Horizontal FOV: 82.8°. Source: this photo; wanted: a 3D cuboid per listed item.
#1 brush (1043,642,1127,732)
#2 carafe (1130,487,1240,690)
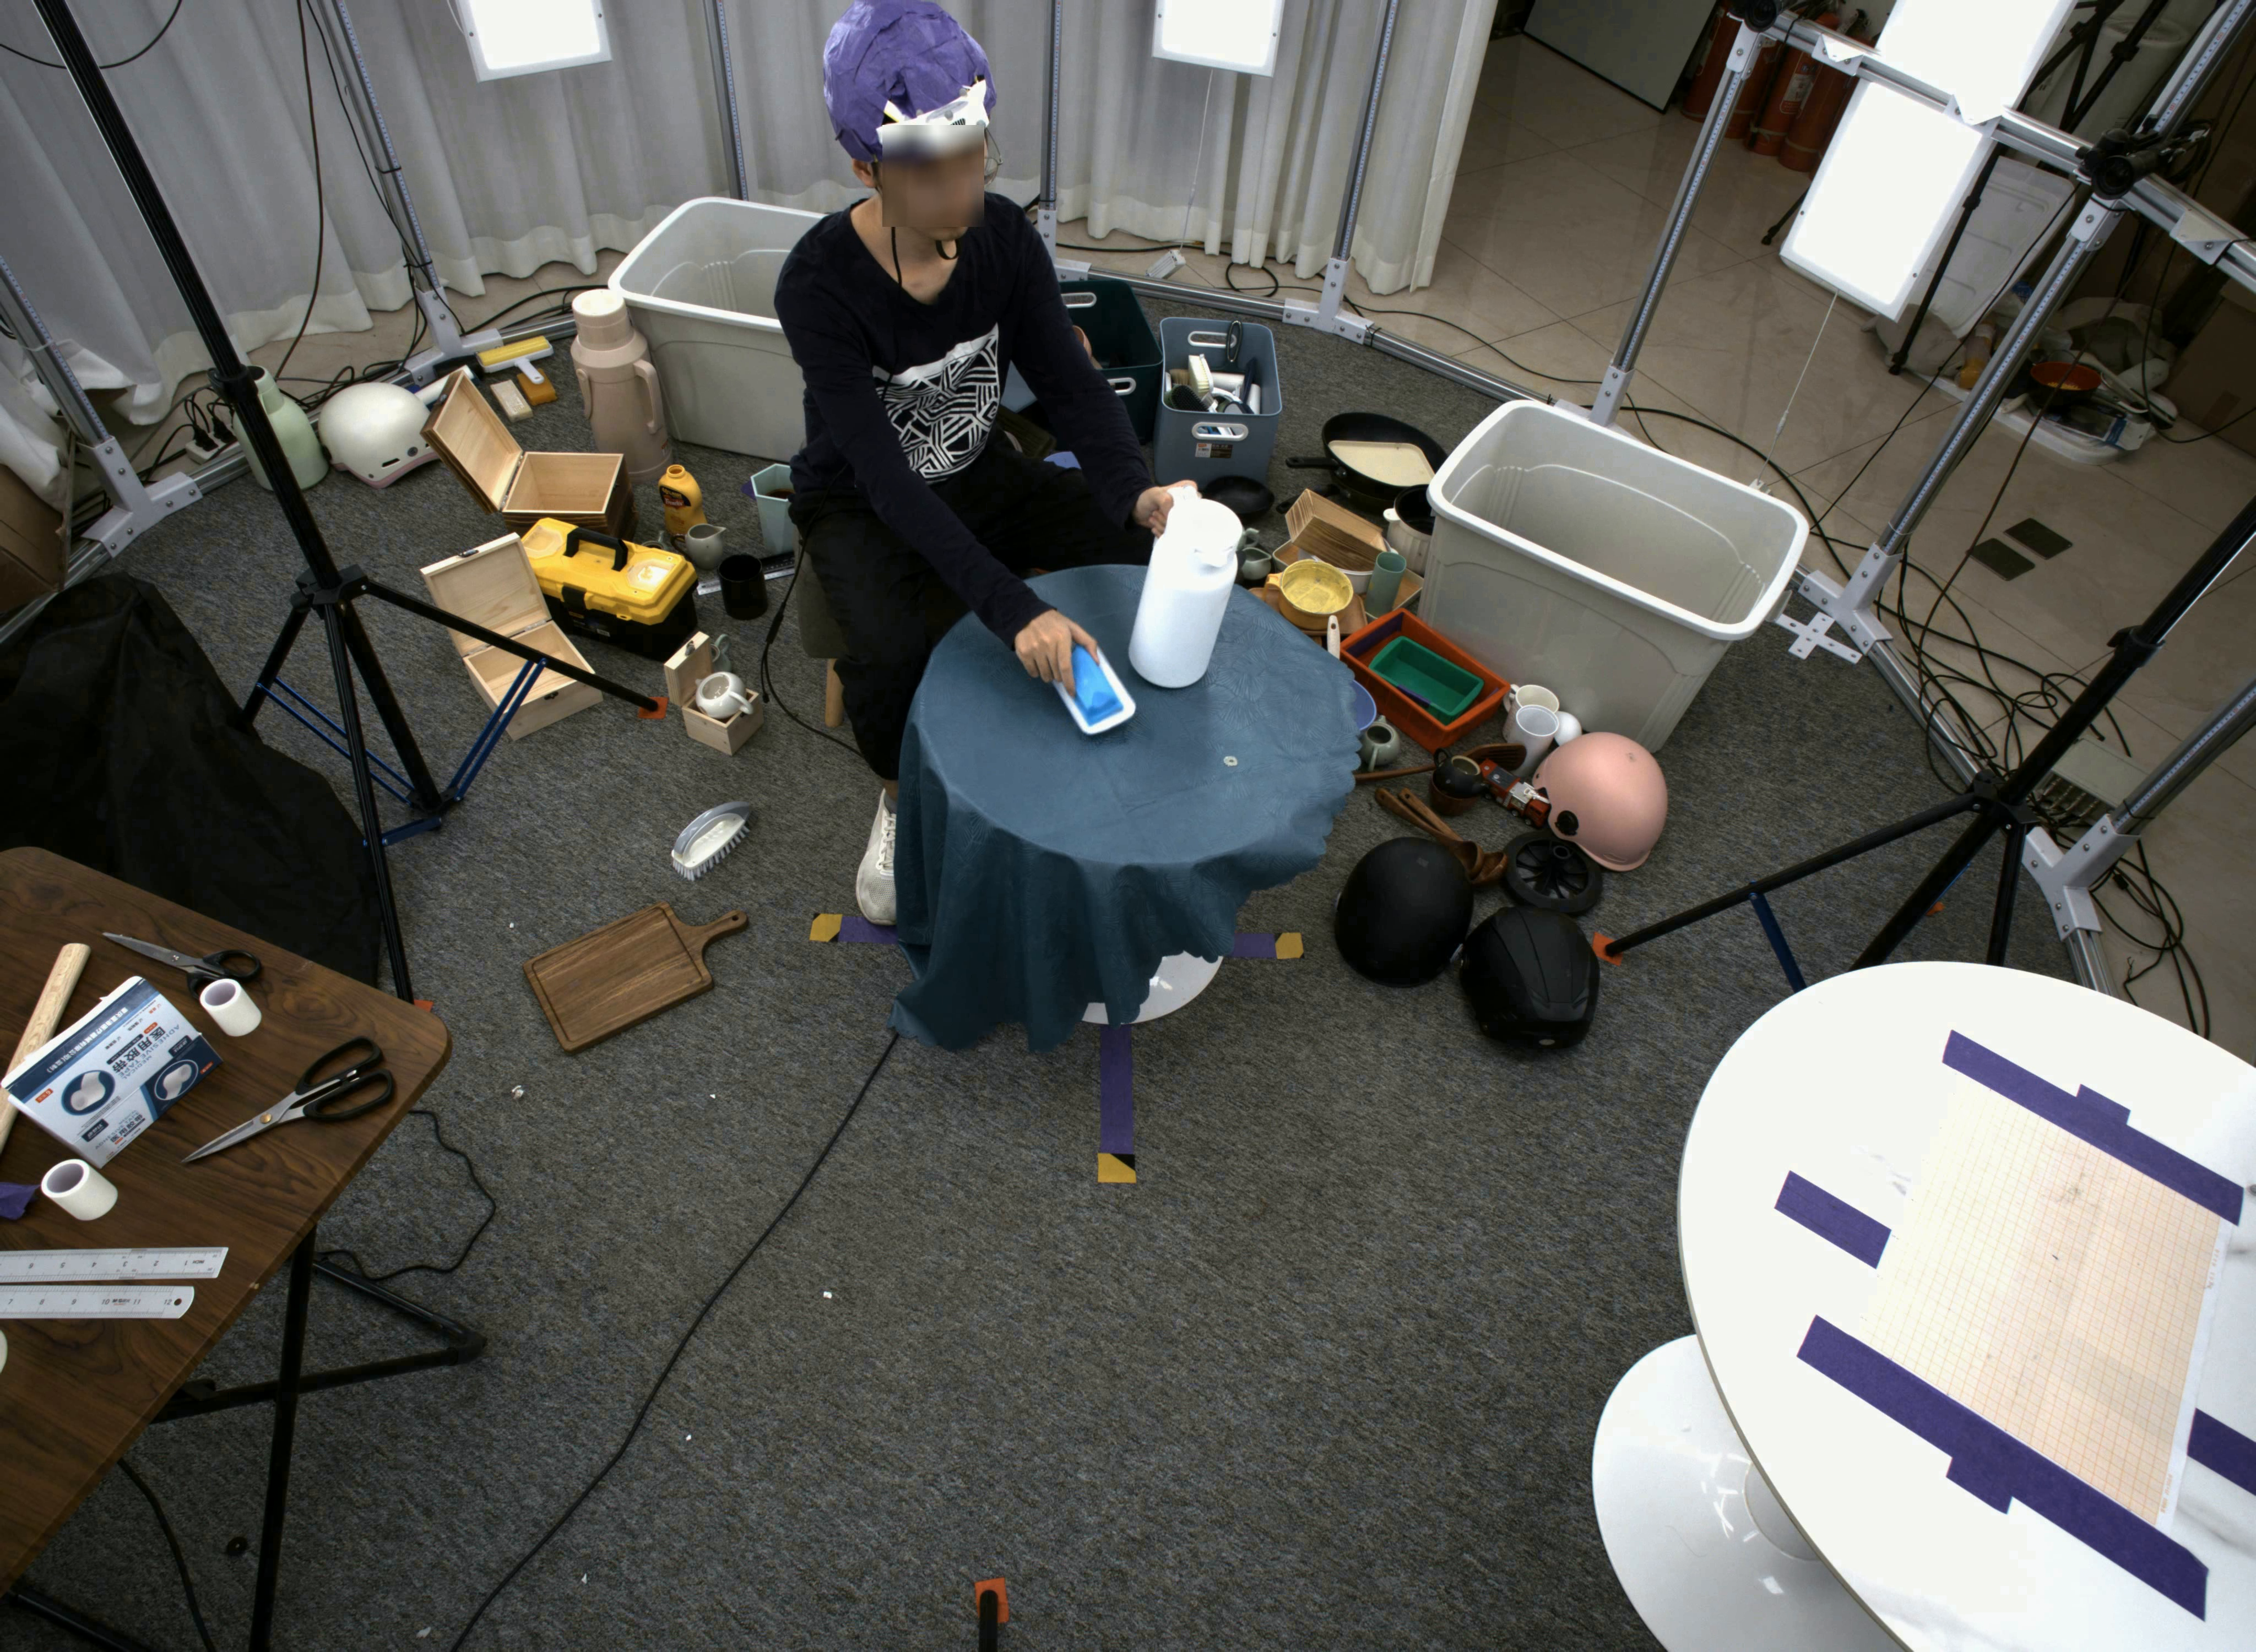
[{"bbox_3d":[-0.060,-0.201,1.782,0.084,0.054,0.147,-21,59,-9],"label":"brush"},{"bbox_3d":[0.071,-0.330,1.780,0.124,0.263,0.177,-12,56,-16],"label":"carafe"}]
